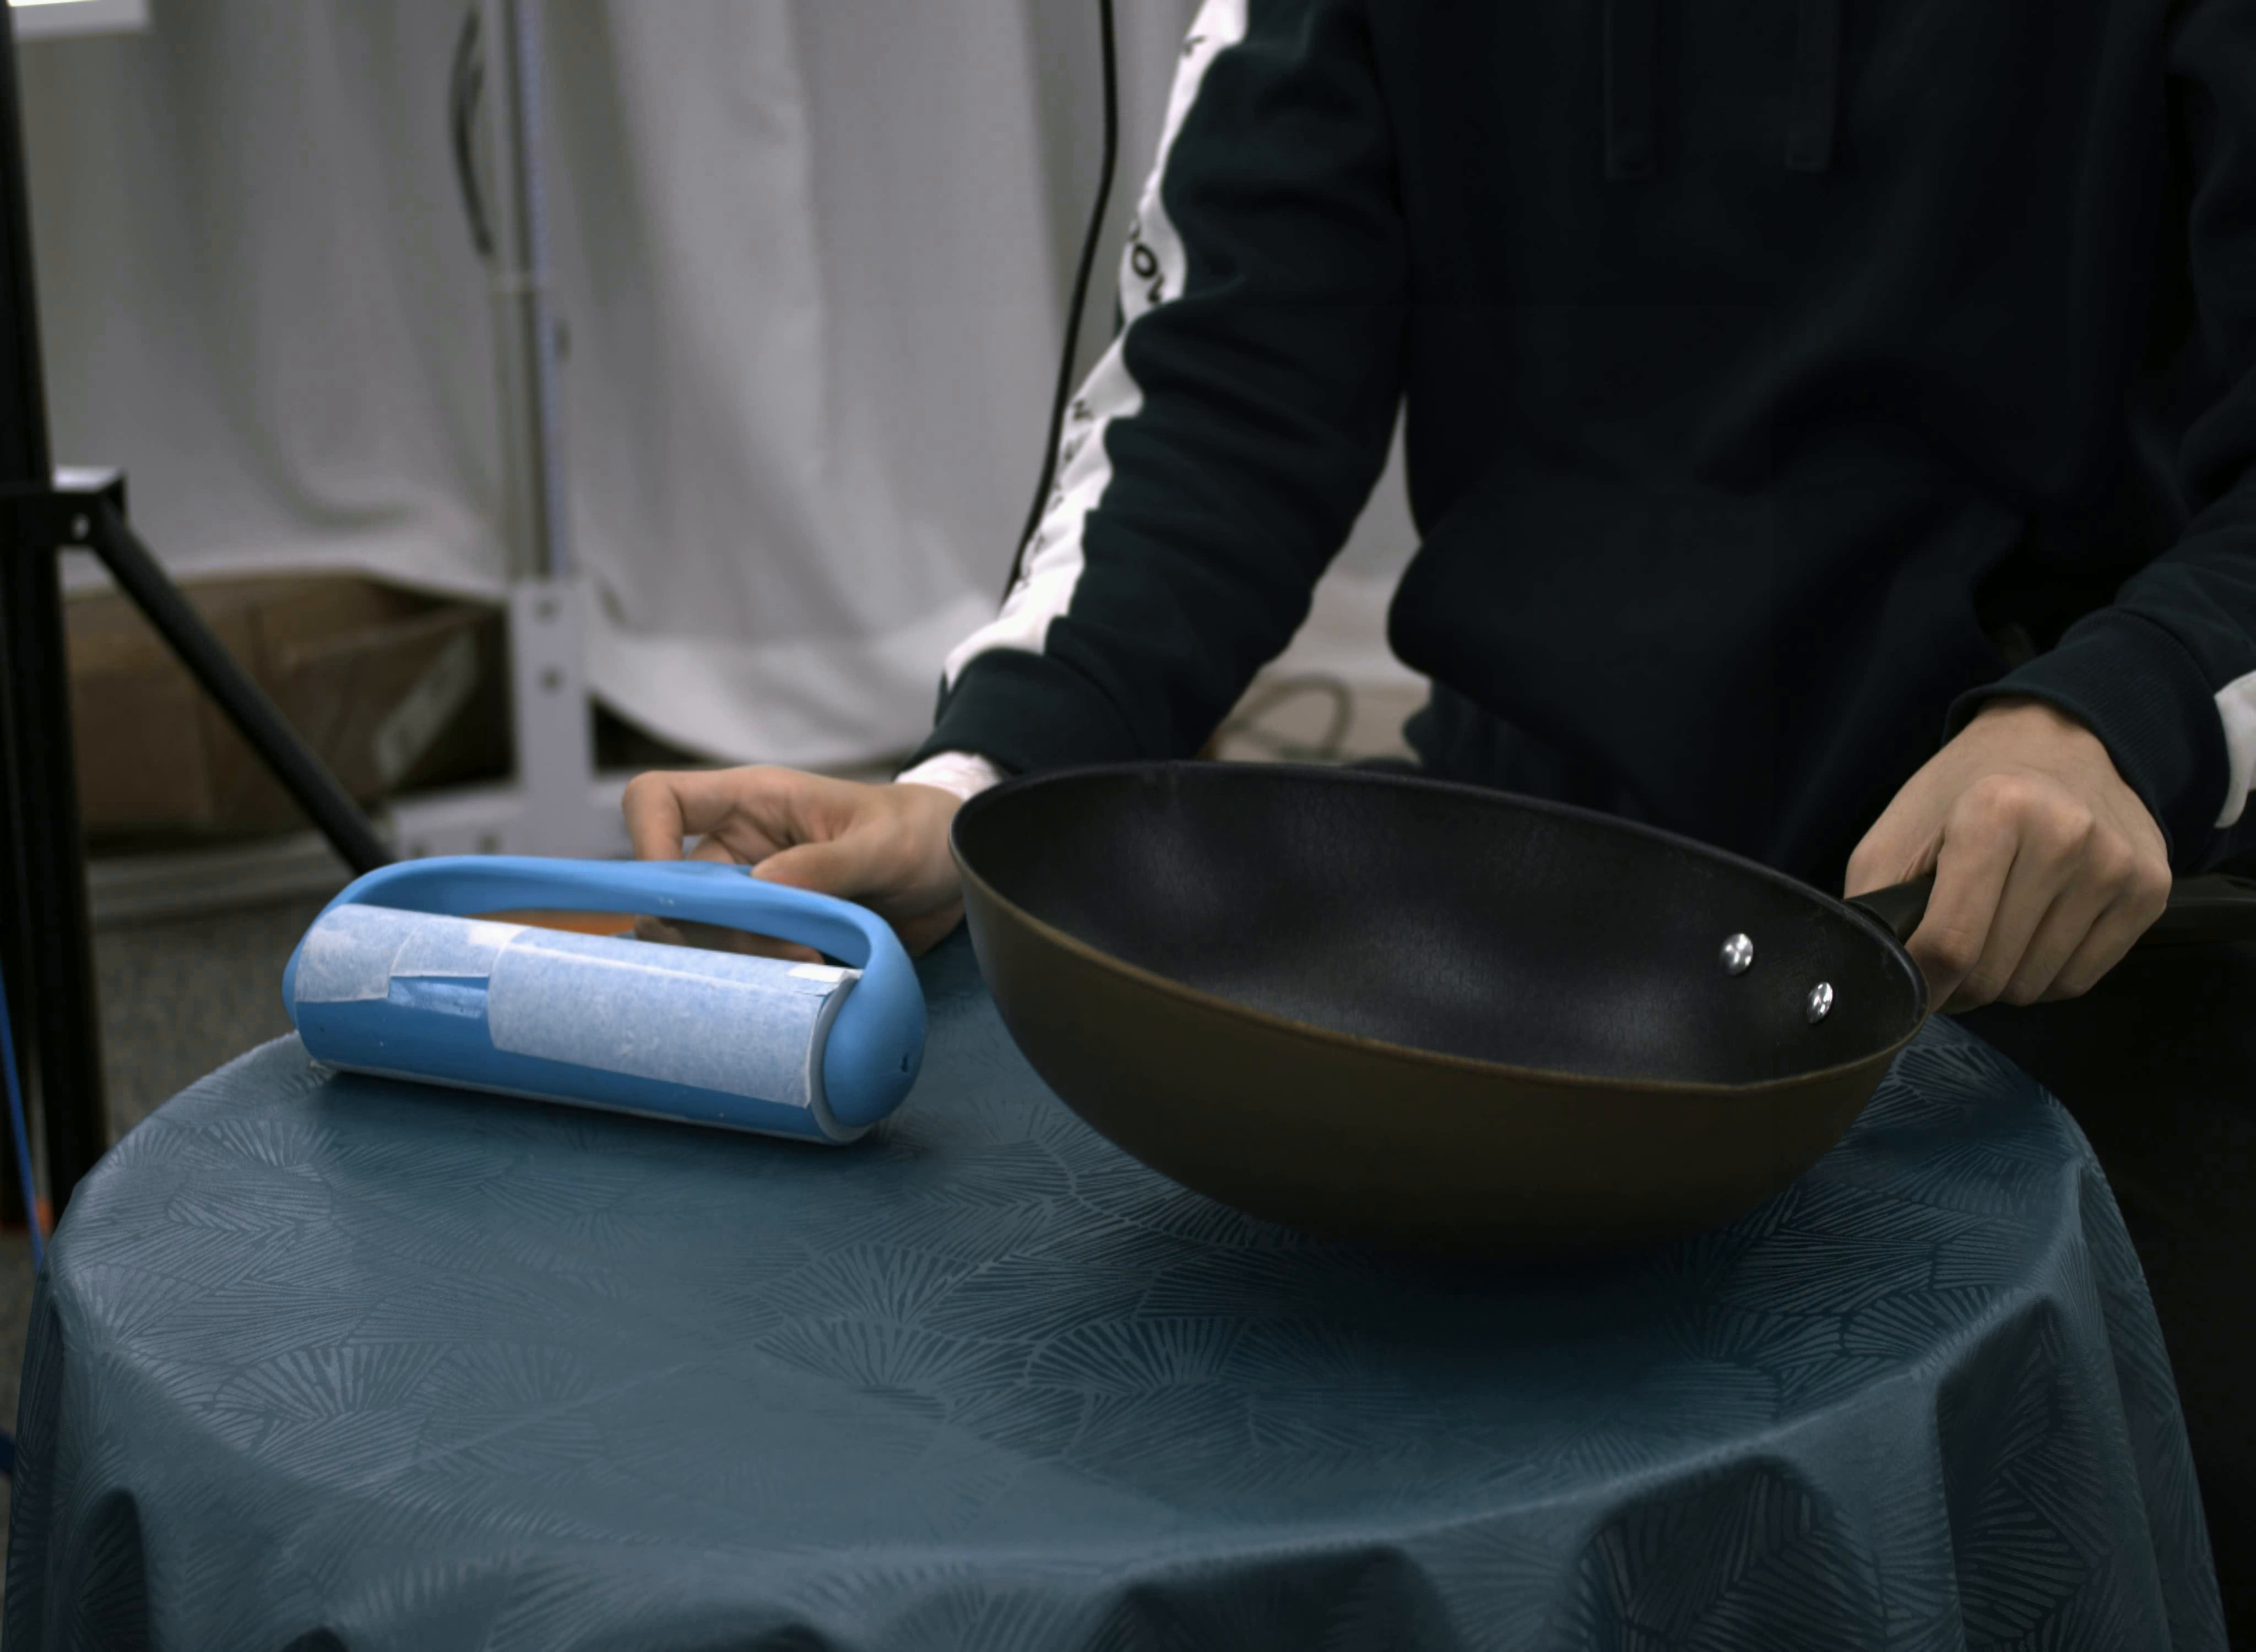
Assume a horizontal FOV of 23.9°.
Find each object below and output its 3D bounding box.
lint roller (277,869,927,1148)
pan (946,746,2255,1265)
[{"bbox_3d":[-0.141,0.046,1.702,0.232,0.068,0.177,3,17,27],"label":"lint roller"},{"bbox_3d":[0.157,0.058,1.539,0.452,0.087,0.294,1,18,-30],"label":"pan"}]
